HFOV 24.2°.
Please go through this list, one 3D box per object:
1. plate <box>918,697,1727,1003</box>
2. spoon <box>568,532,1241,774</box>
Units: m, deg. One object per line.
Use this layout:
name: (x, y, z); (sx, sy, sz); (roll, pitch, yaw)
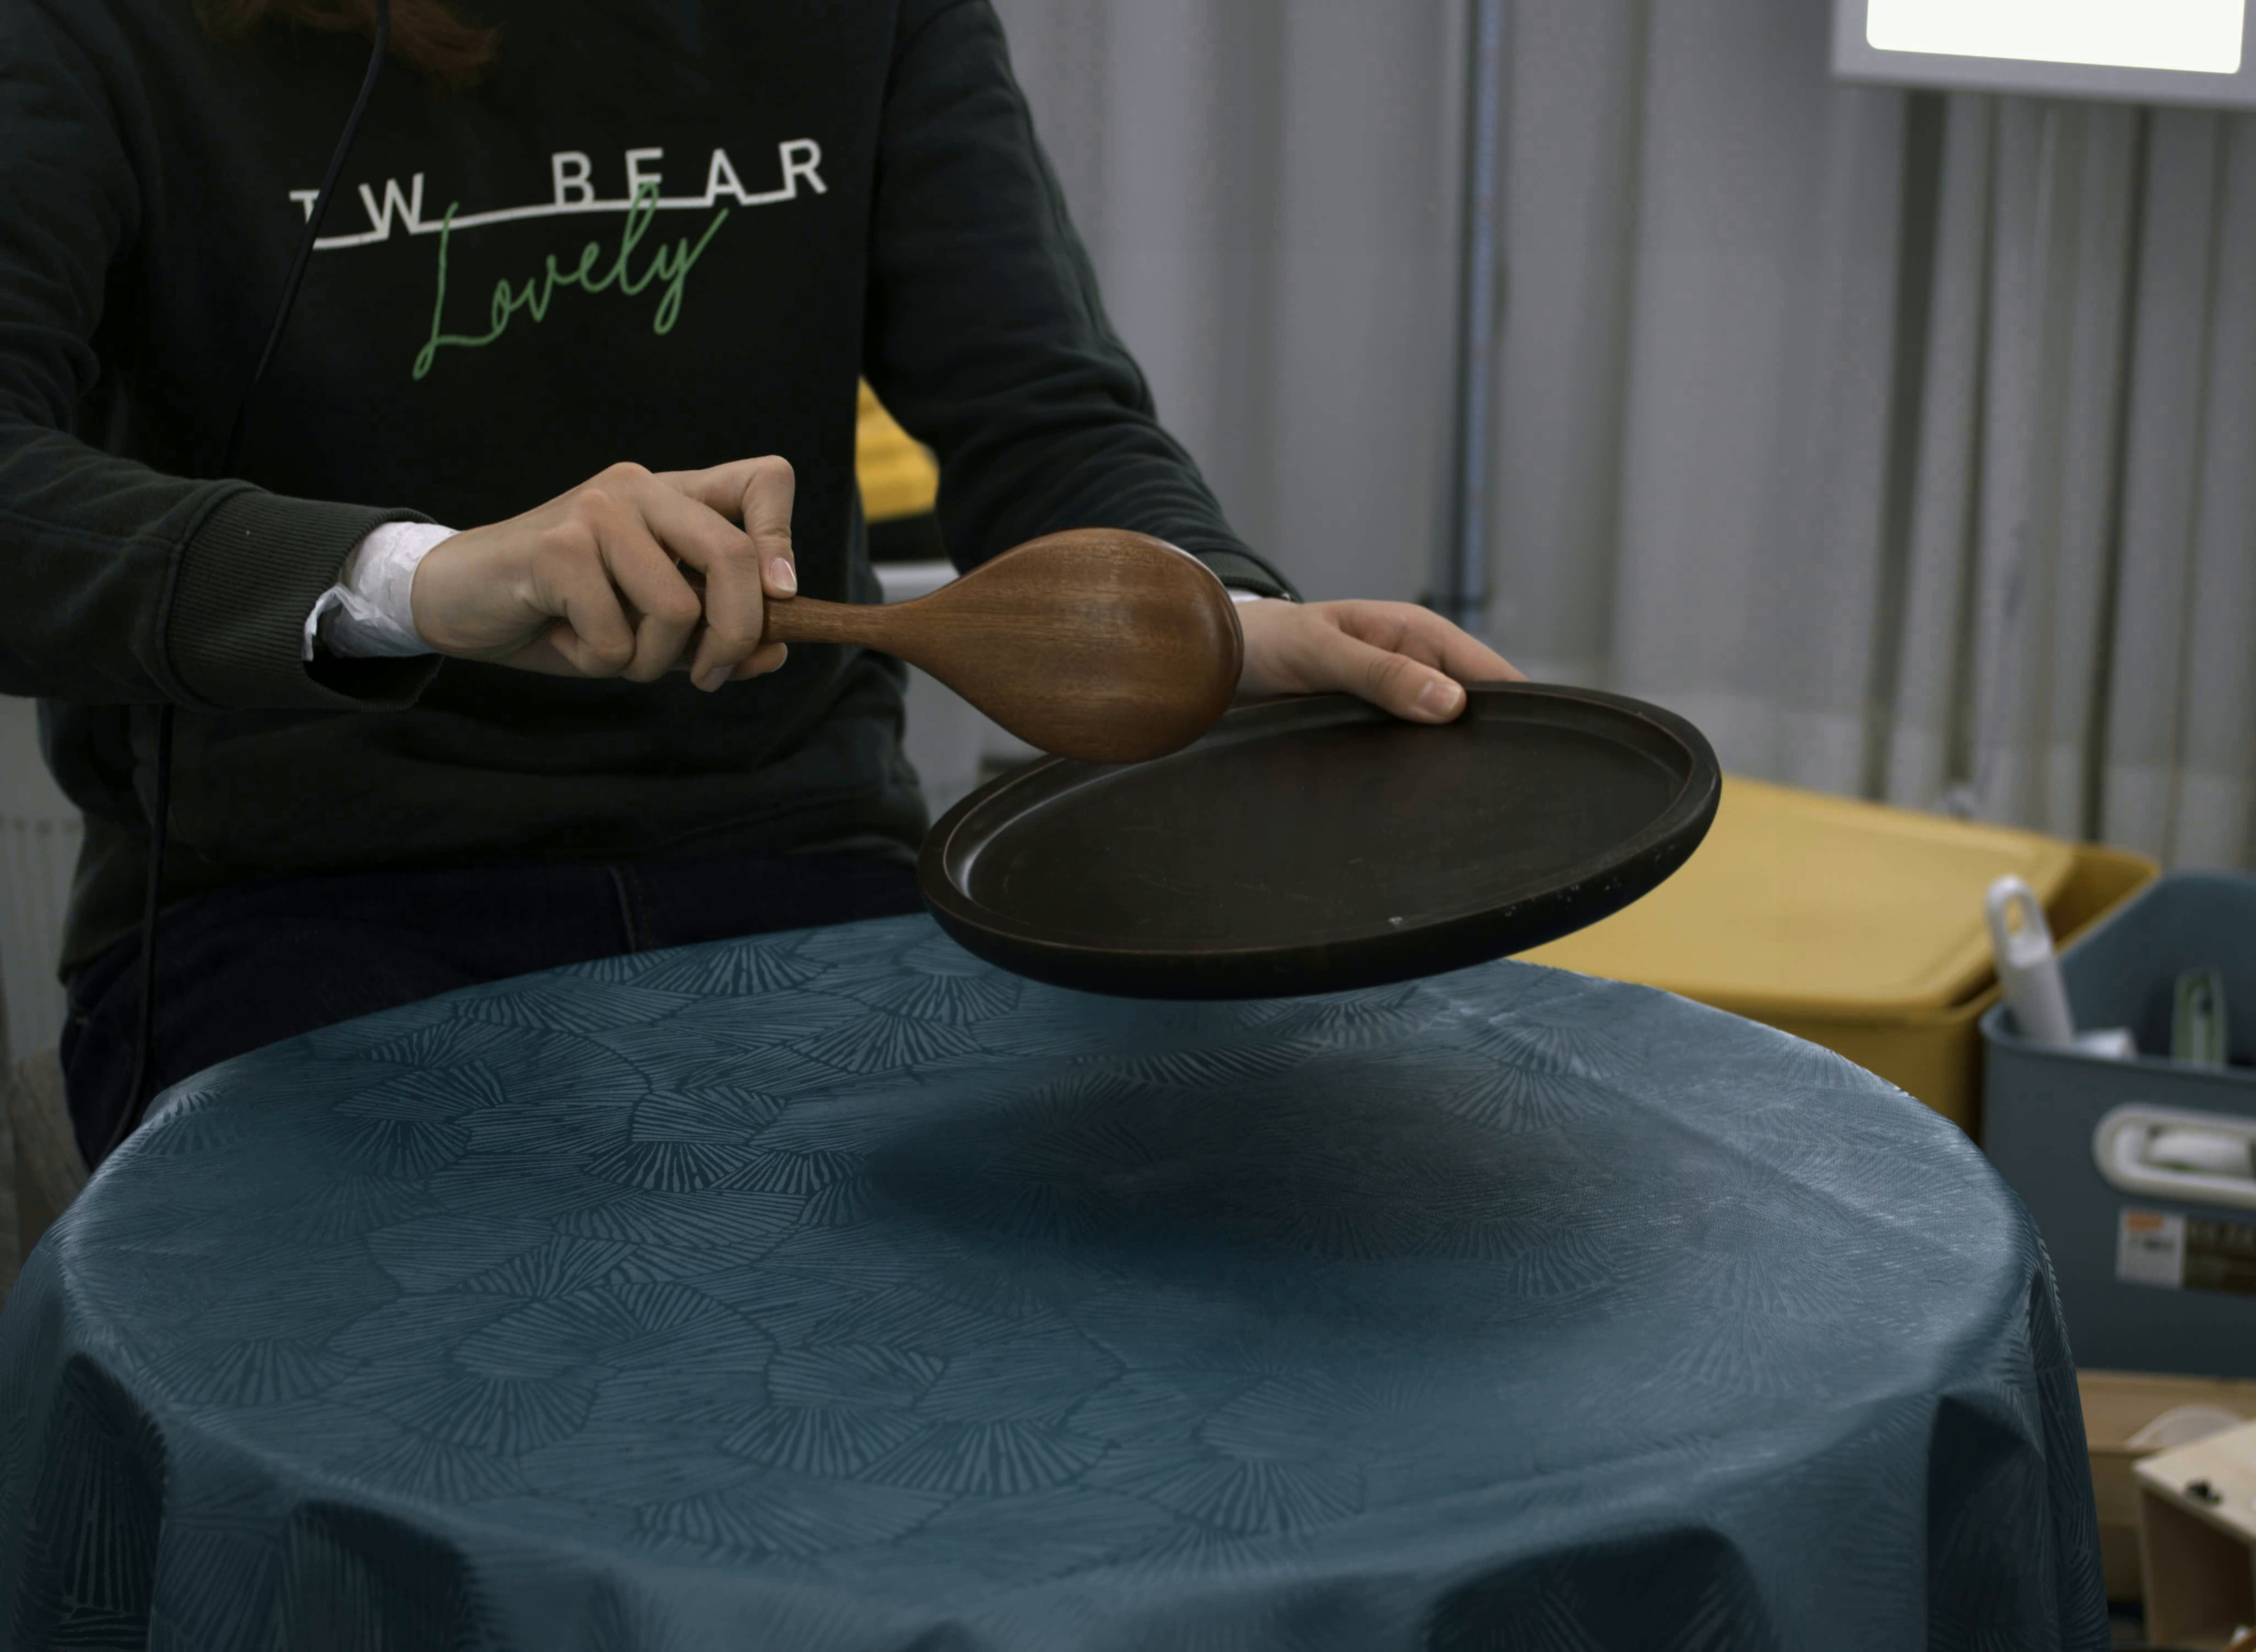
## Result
plate: (0.060, 0.005, 1.637); (0.254, 0.029, 0.253); (-6, 19, 2)
spoon: (-0.071, -0.060, 1.622); (0.214, 0.076, 0.017); (7, 14, 13)
